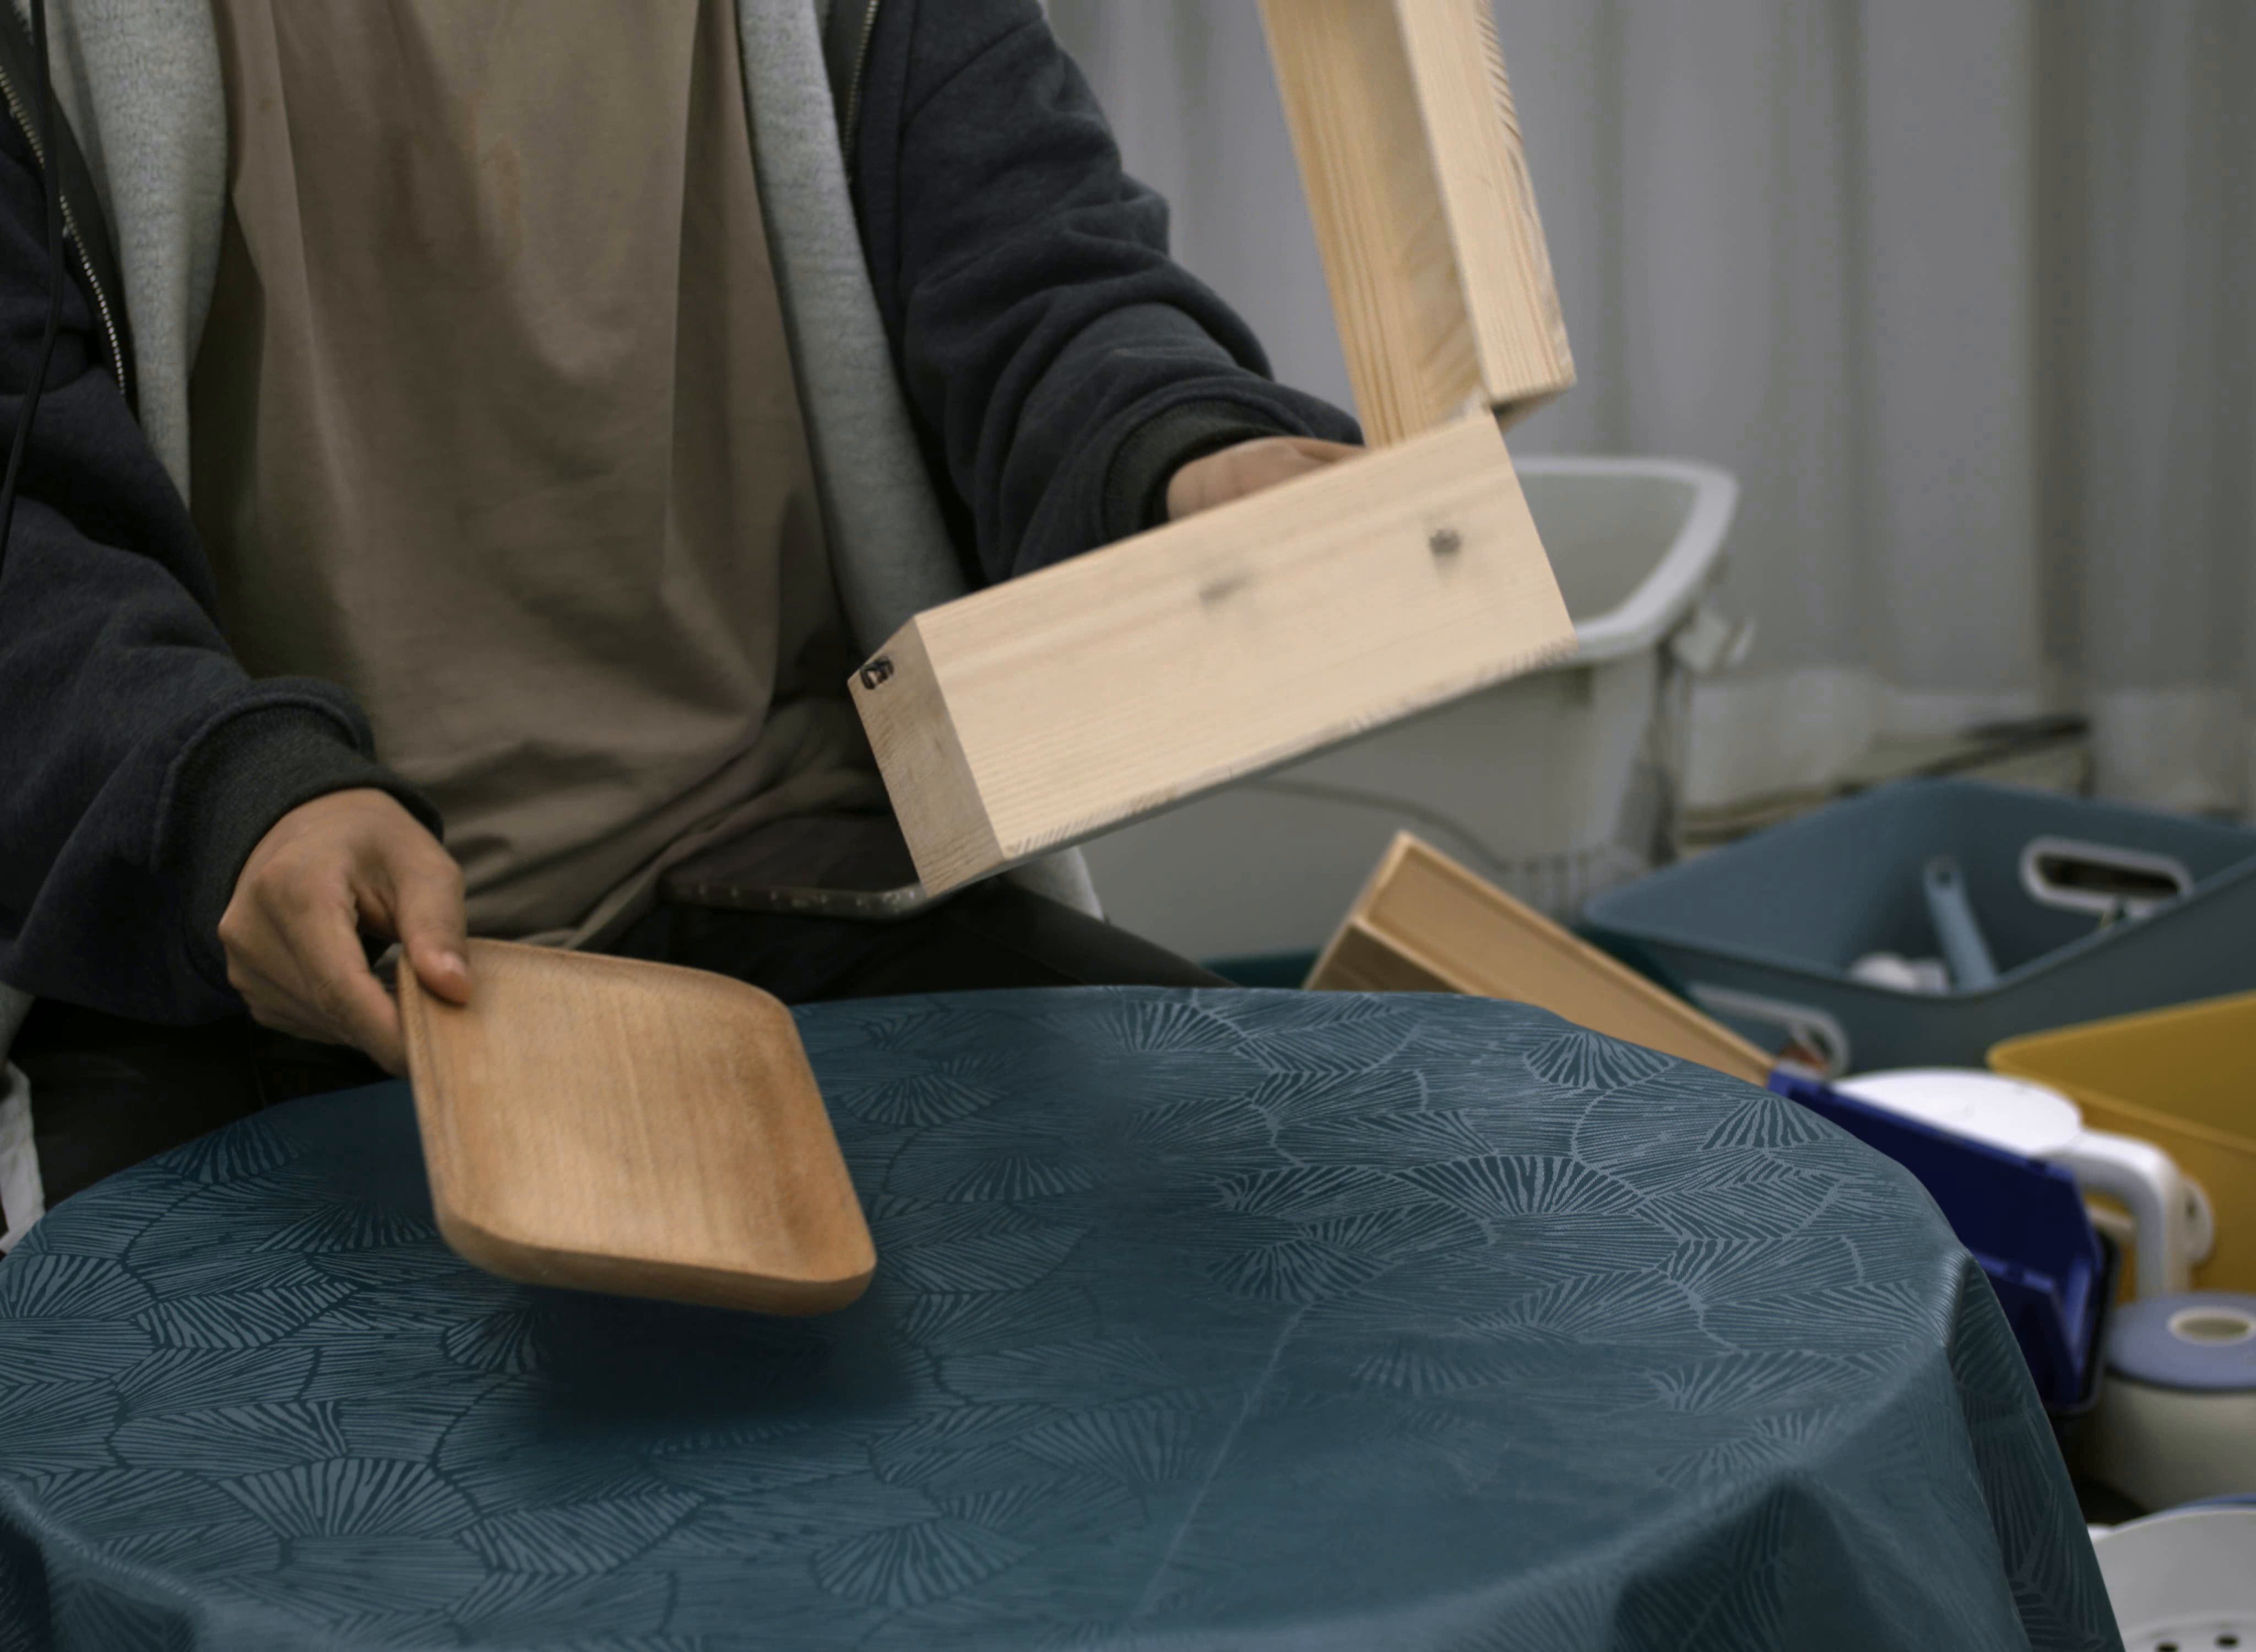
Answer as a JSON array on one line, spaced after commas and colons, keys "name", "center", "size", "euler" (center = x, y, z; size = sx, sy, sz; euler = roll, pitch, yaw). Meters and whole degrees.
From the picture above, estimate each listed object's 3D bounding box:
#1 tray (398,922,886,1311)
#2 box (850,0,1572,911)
[{"name": "tray", "center": [-0.150, 0.084, 1.636], "size": [0.130, 0.023, 0.253], "euler": [12, 15, -14]}, {"name": "box", "center": [0.022, -0.142, 1.665], "size": [0.264, 0.254, 0.181], "euler": [-20, -6, -11]}]
